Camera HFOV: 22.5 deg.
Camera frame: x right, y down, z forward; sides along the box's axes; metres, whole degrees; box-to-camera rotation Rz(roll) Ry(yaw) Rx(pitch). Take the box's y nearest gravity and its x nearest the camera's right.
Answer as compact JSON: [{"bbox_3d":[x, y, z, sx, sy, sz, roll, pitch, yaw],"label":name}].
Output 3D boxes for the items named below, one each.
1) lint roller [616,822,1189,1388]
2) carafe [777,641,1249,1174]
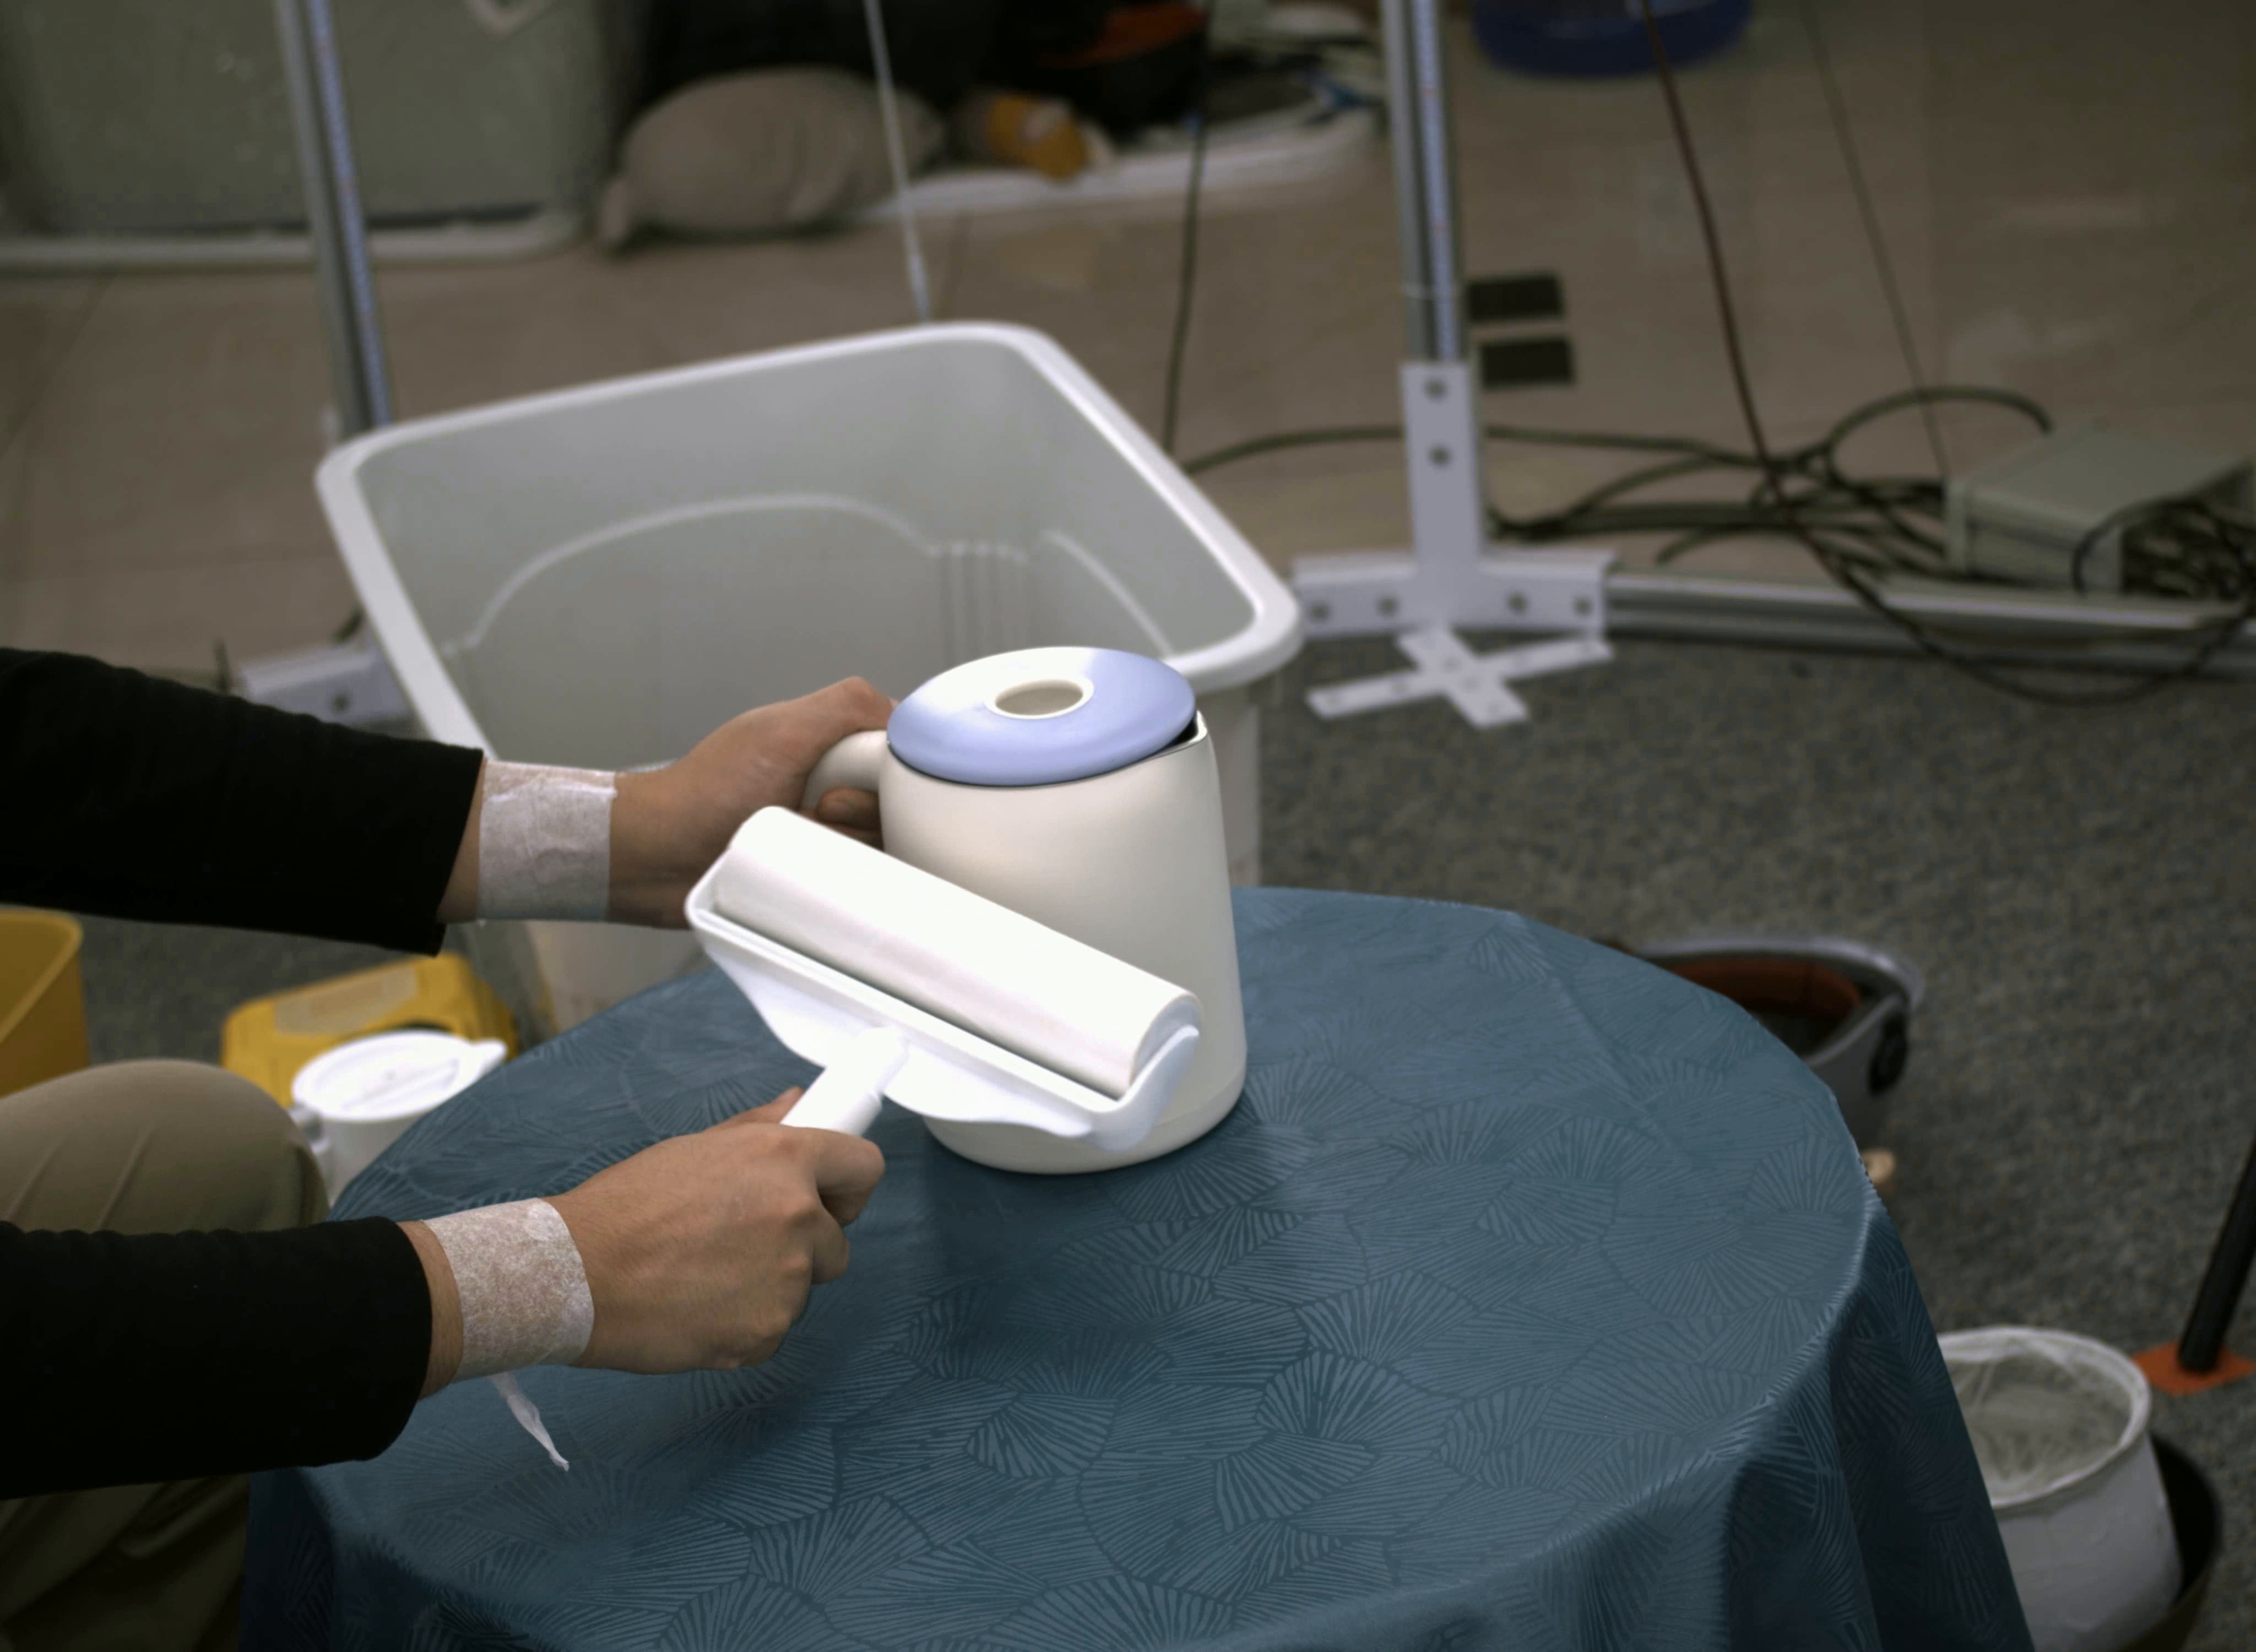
[{"bbox_3d":[-0.115,0.110,2.039,0.201,0.049,0.223,22,57,26],"label":"lint roller"},{"bbox_3d":[-0.048,0.030,2.188,0.190,0.185,0.130,3,27,23],"label":"carafe"}]
